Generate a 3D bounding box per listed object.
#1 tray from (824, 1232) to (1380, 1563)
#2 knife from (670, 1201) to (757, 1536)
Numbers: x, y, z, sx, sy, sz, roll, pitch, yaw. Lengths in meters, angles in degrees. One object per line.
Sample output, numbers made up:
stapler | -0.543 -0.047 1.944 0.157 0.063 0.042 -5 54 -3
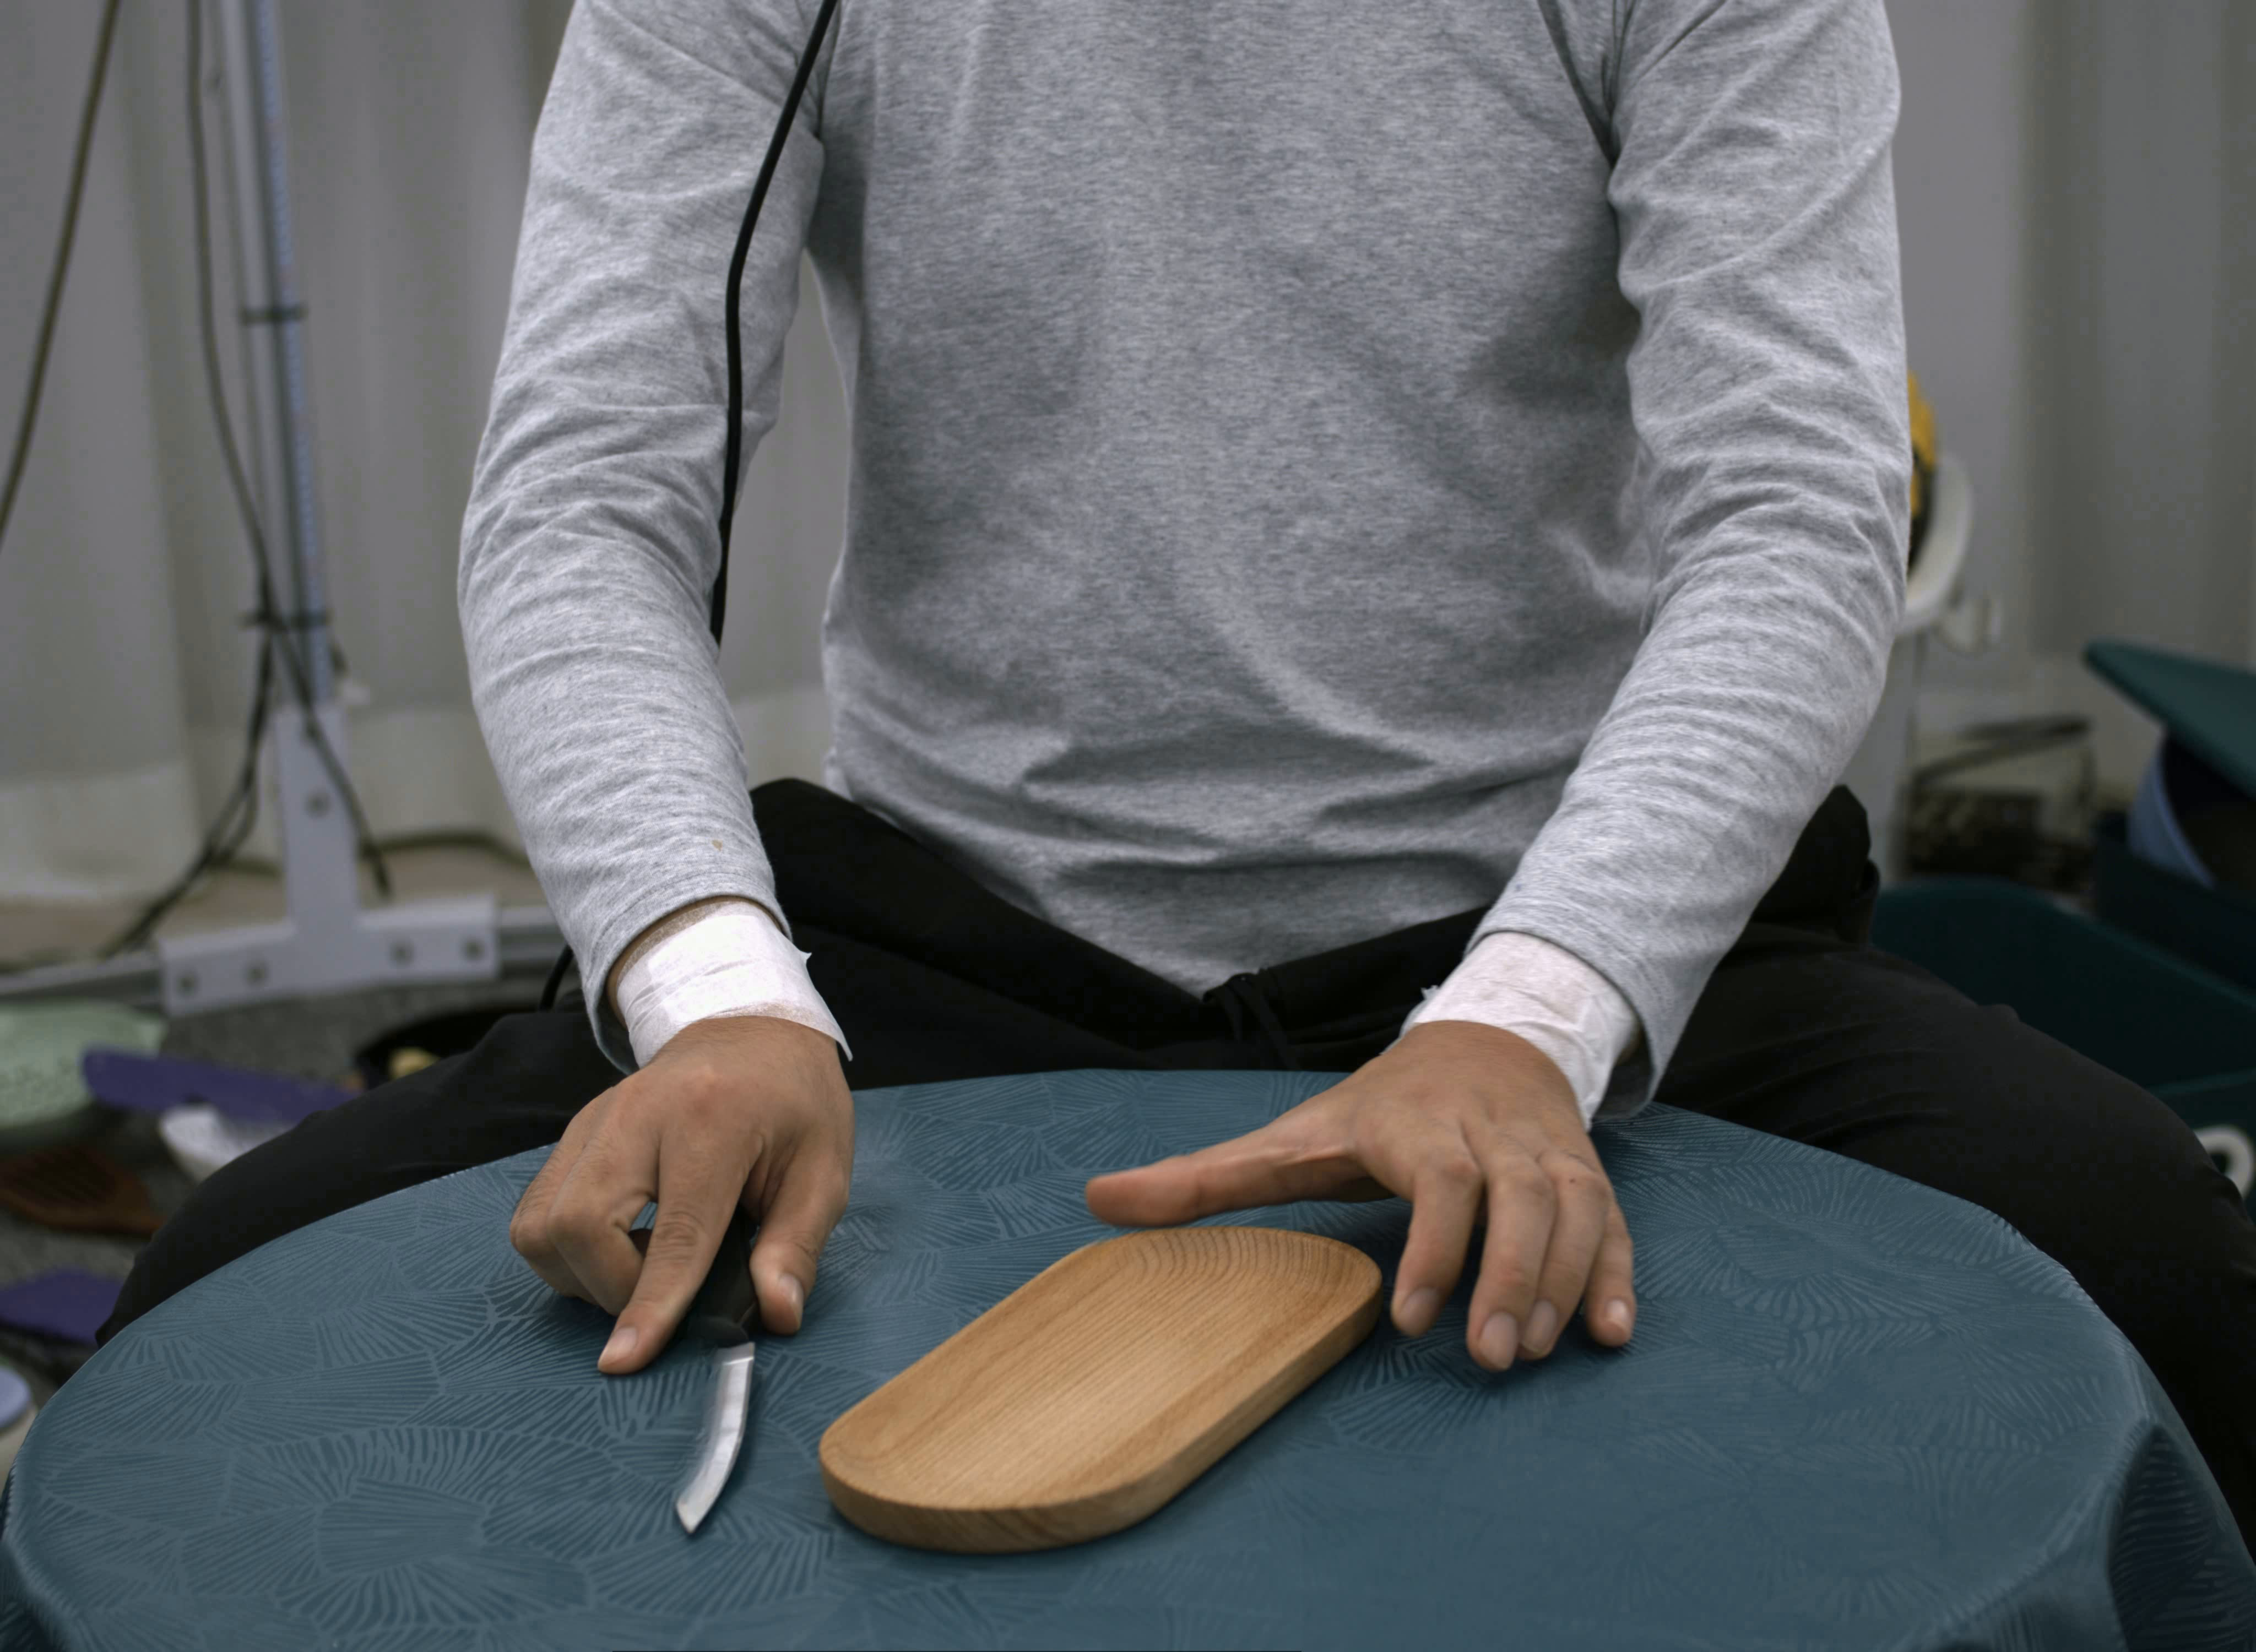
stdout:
tray | -0.004 0.157 1.528 0.102 0.020 0.232 2 17 24
knife | -0.119 0.155 1.565 0.024 0.016 0.240 -10 17 0
